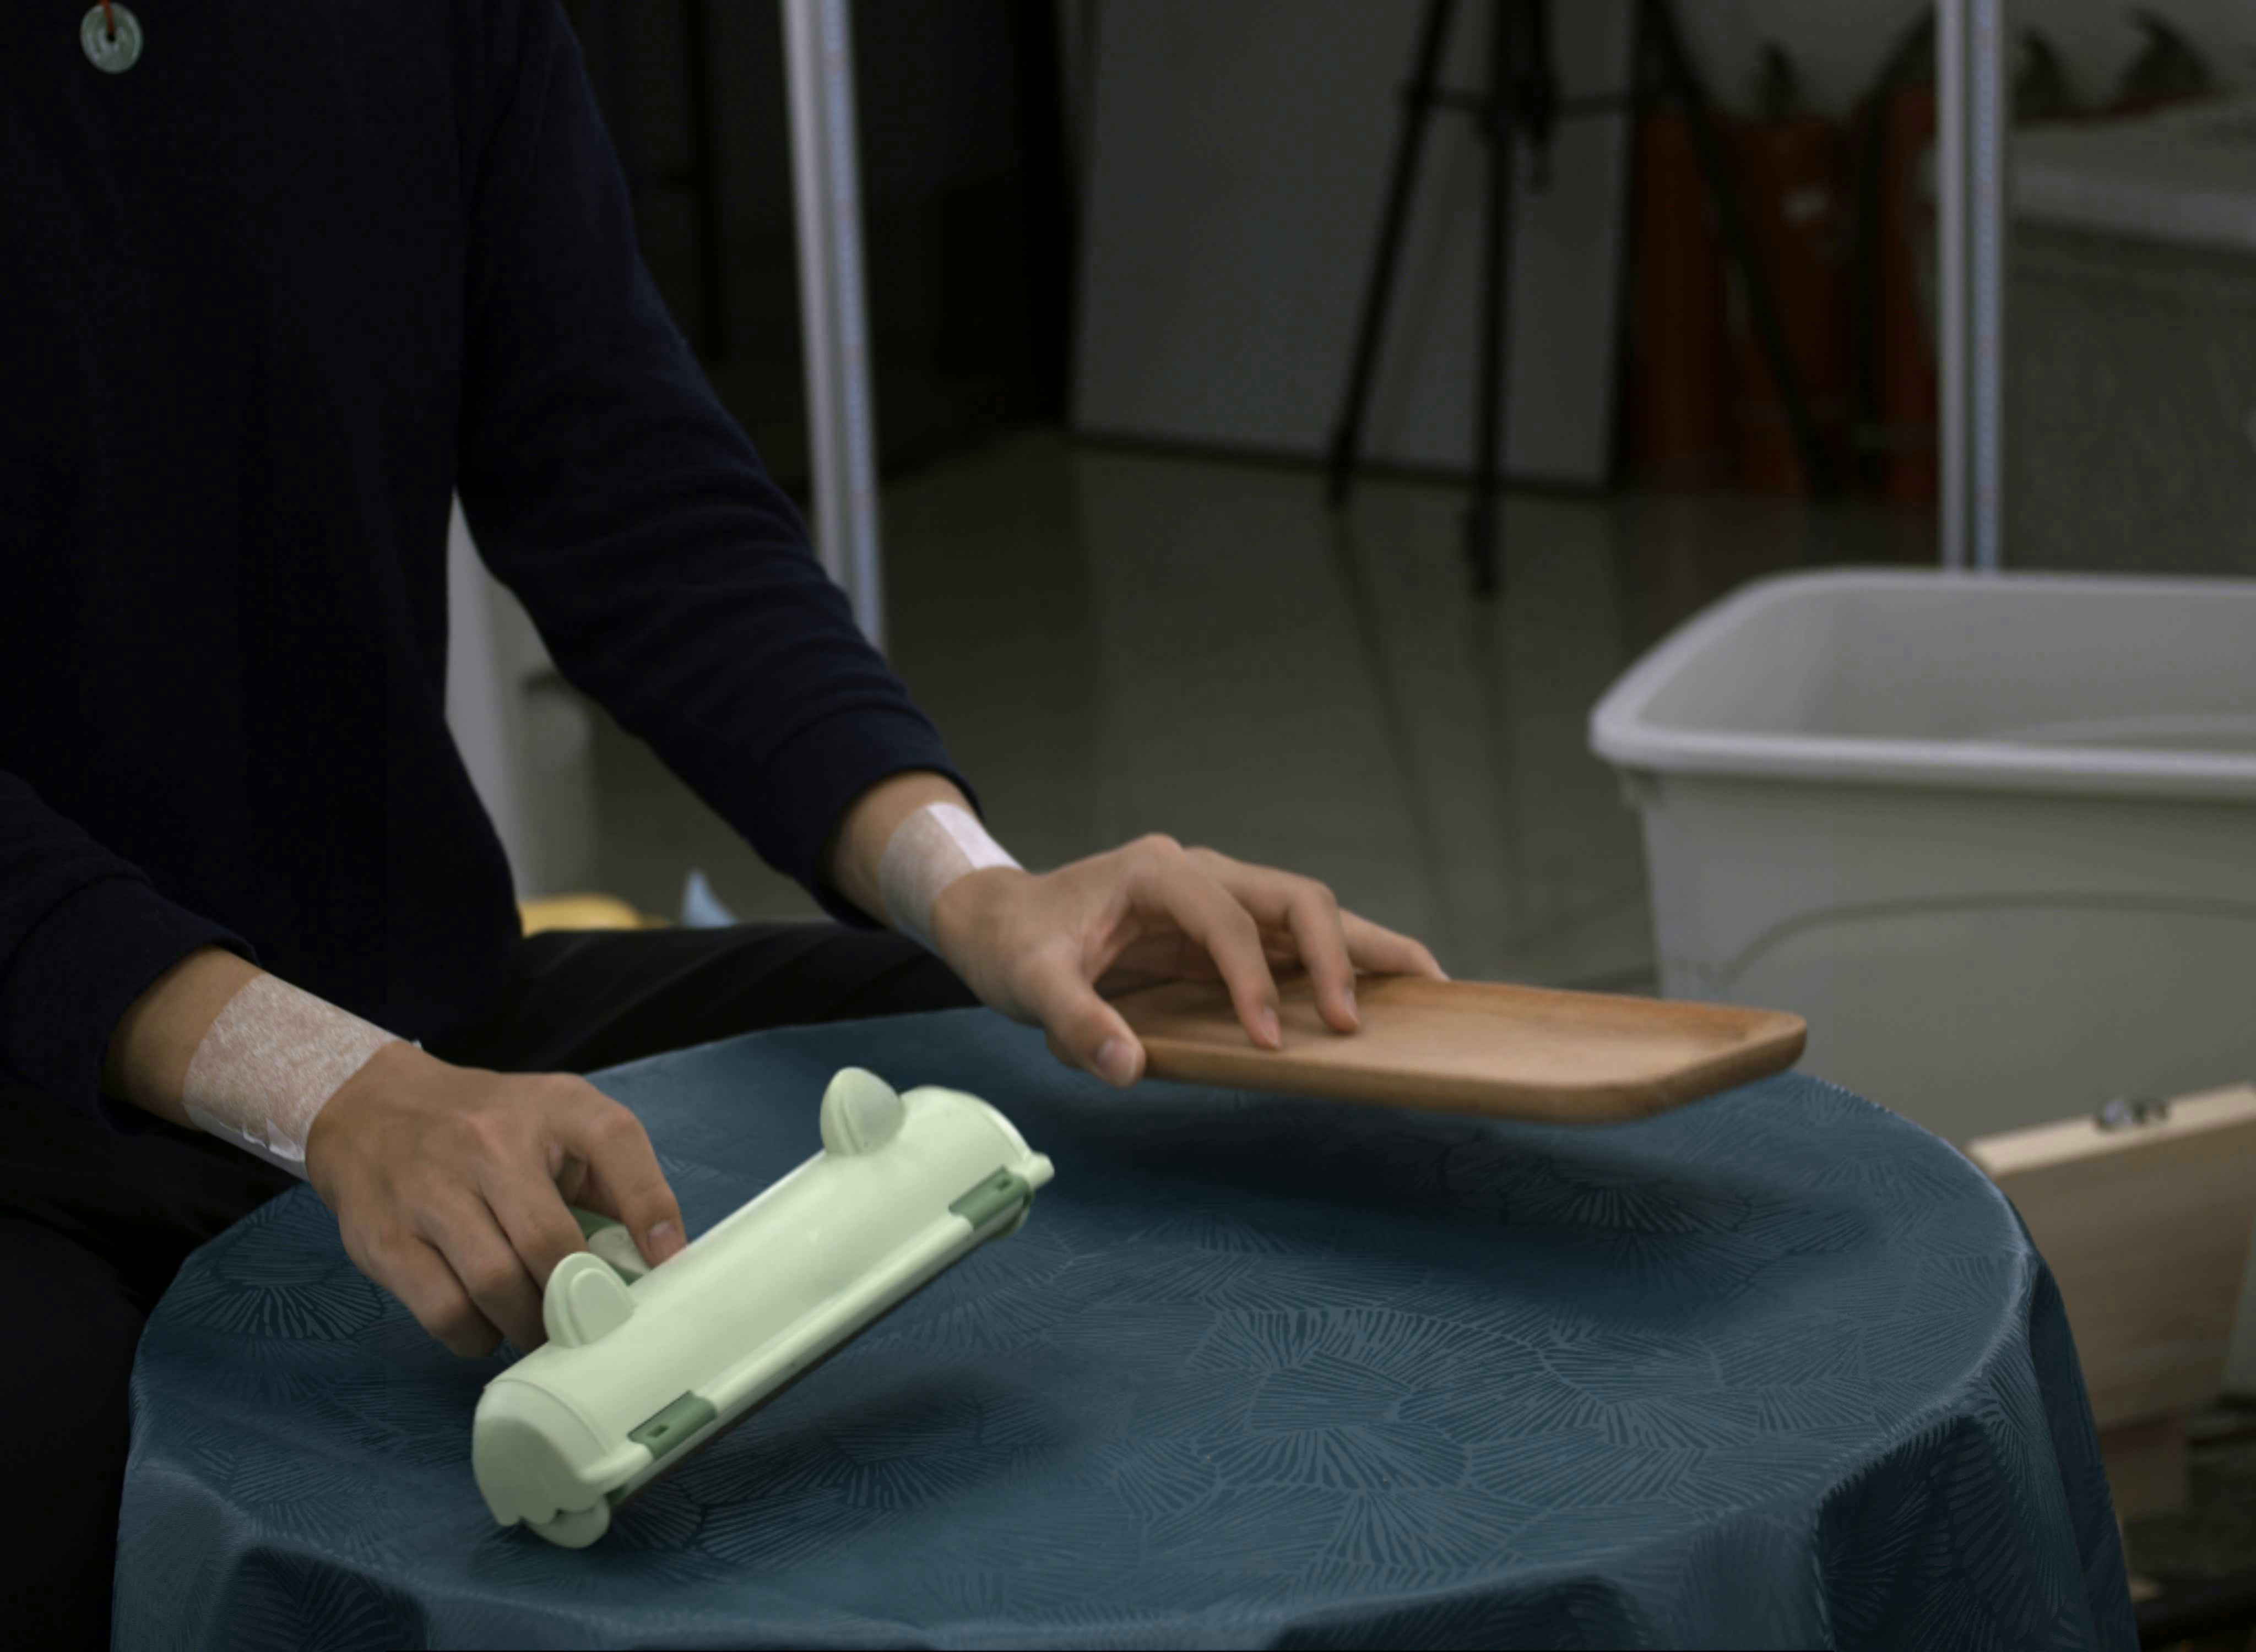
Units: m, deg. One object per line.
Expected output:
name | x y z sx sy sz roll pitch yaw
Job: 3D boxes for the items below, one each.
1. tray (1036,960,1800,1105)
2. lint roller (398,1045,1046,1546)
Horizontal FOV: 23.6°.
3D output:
tray | 0.092 0.066 1.752 0.253 0.023 0.128 2 7 43
lint roller | -0.149 0.114 1.576 0.184 0.083 0.196 19 38 35
